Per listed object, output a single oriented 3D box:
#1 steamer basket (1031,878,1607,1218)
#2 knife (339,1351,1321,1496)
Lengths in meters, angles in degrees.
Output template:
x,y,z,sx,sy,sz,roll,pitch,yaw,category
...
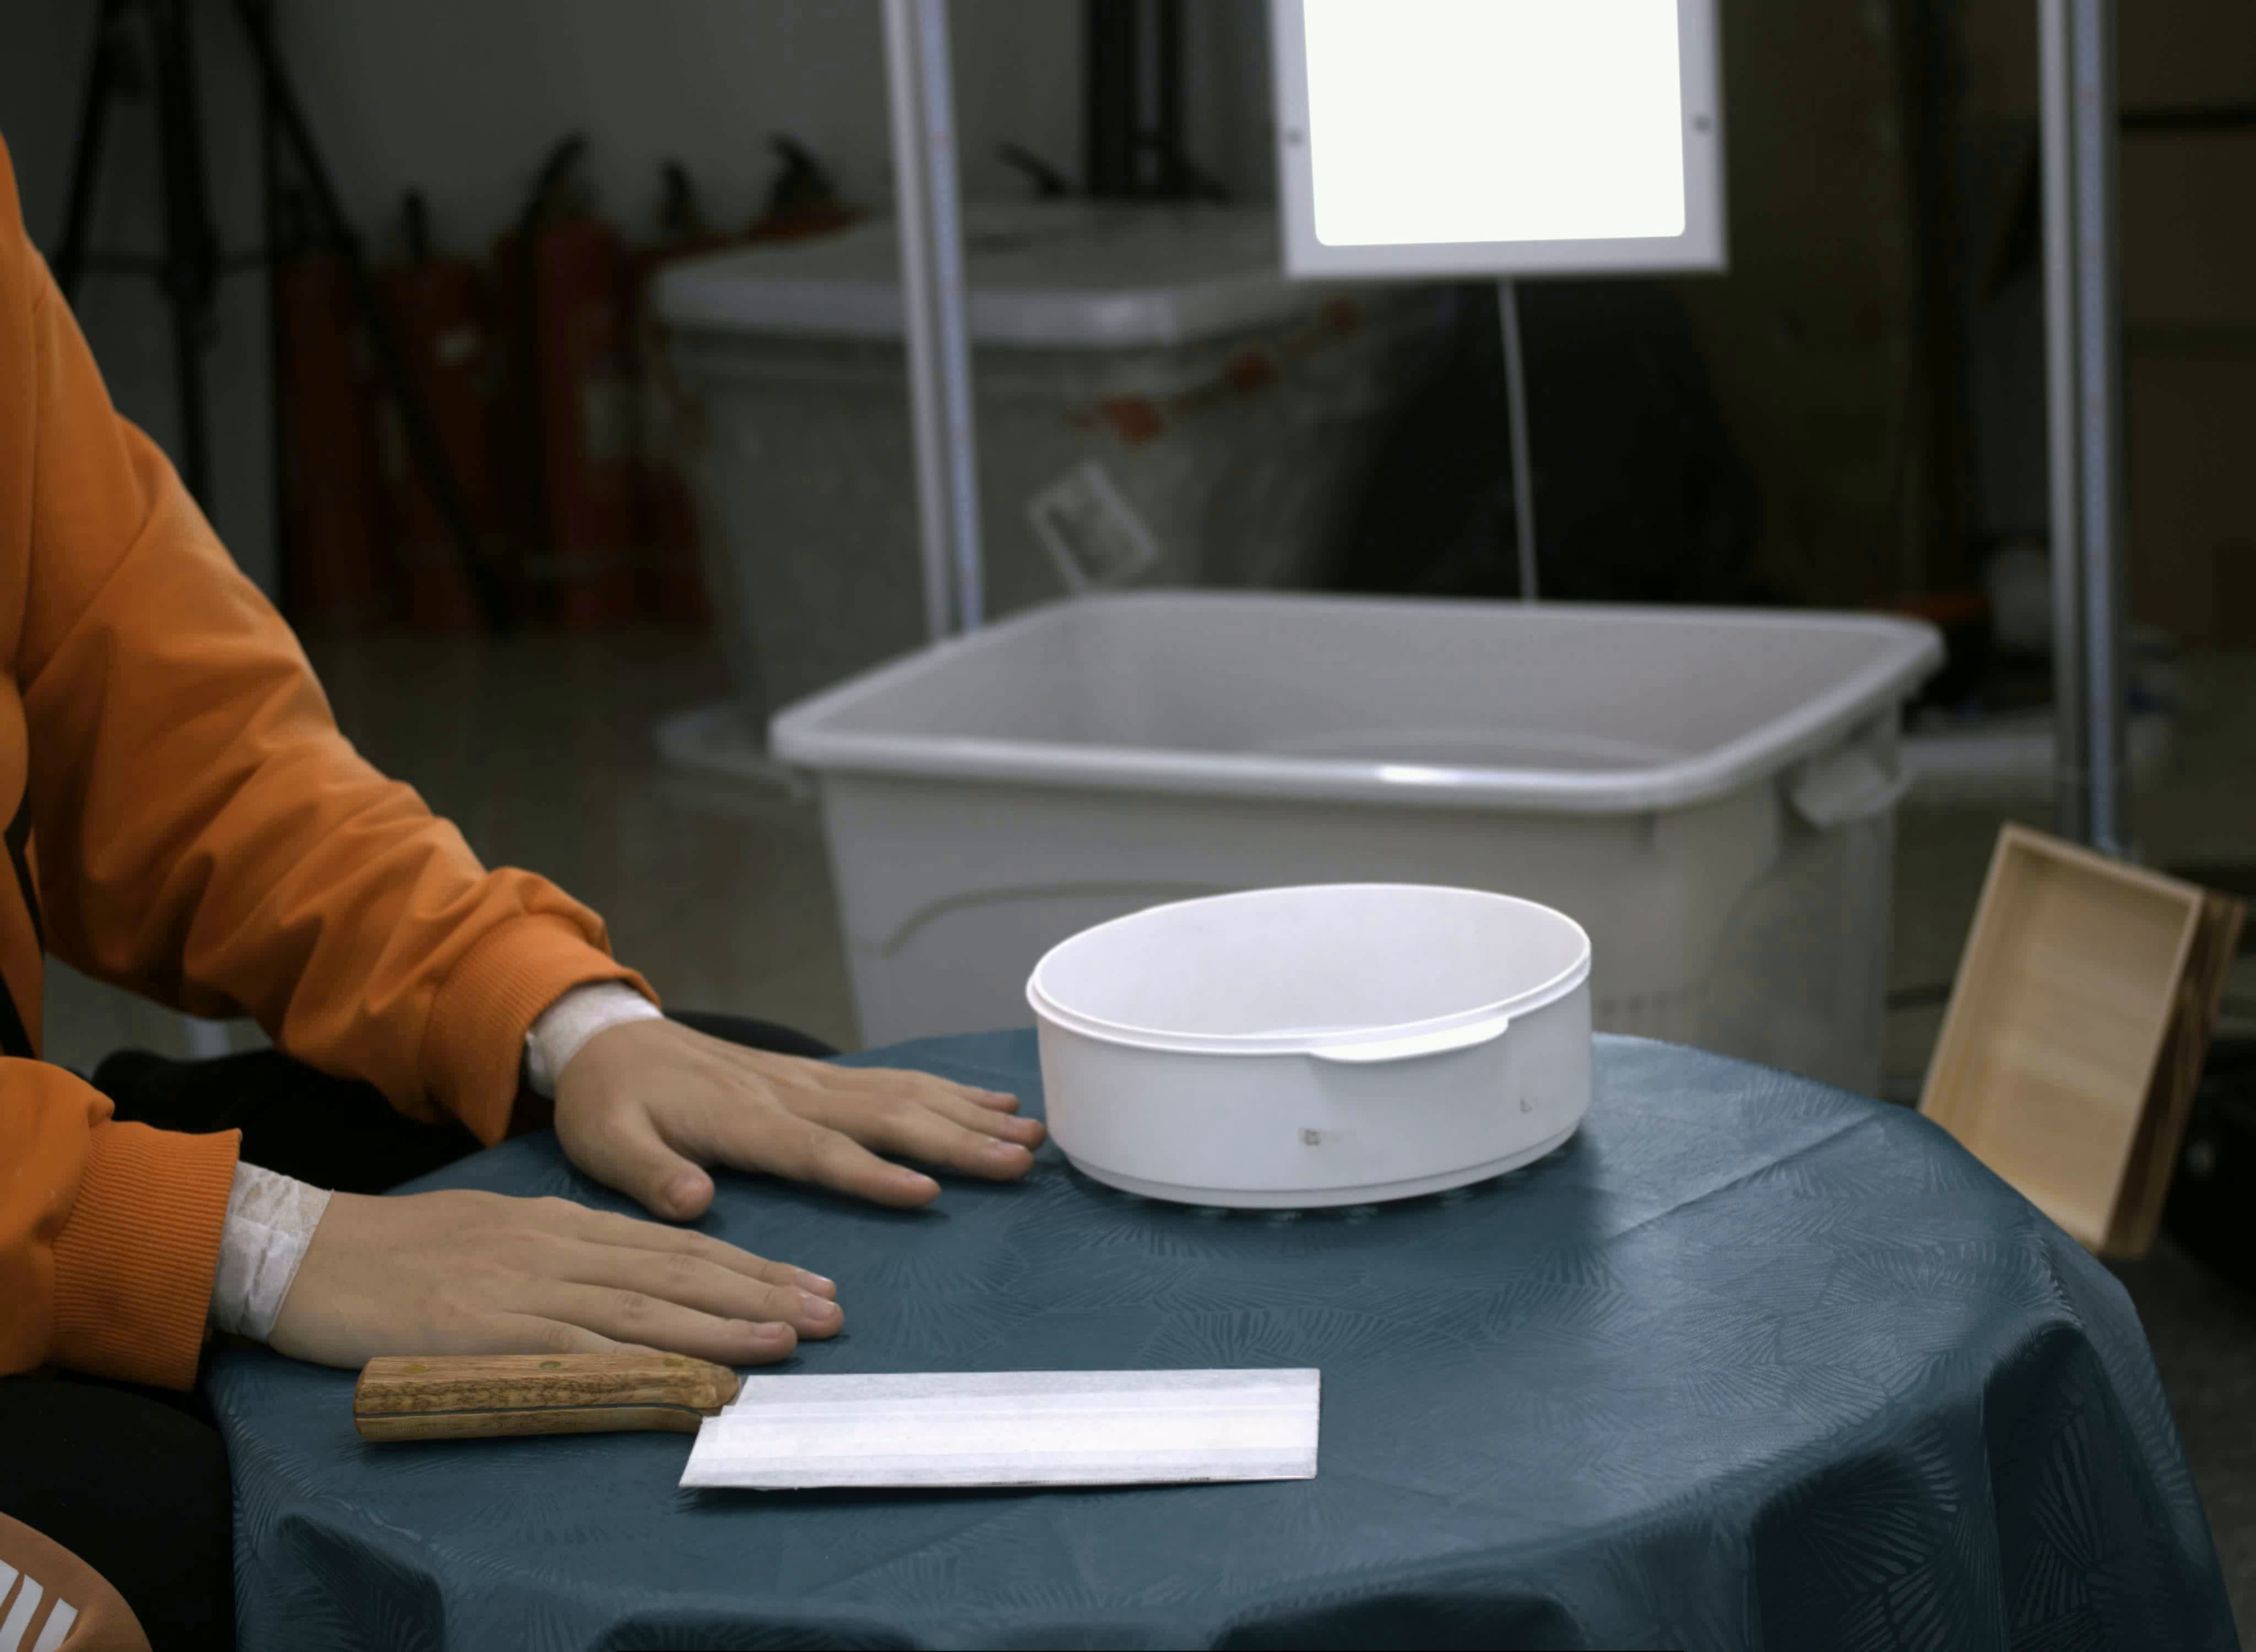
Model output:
x,y,z,sx,sy,sz,roll,pitch,yaw,category
0.068,0.077,1.923,0.199,0.069,0.233,-9,17,-16,steamer basket
-0.094,0.182,1.673,0.306,0.021,0.092,-1,16,6,knife
